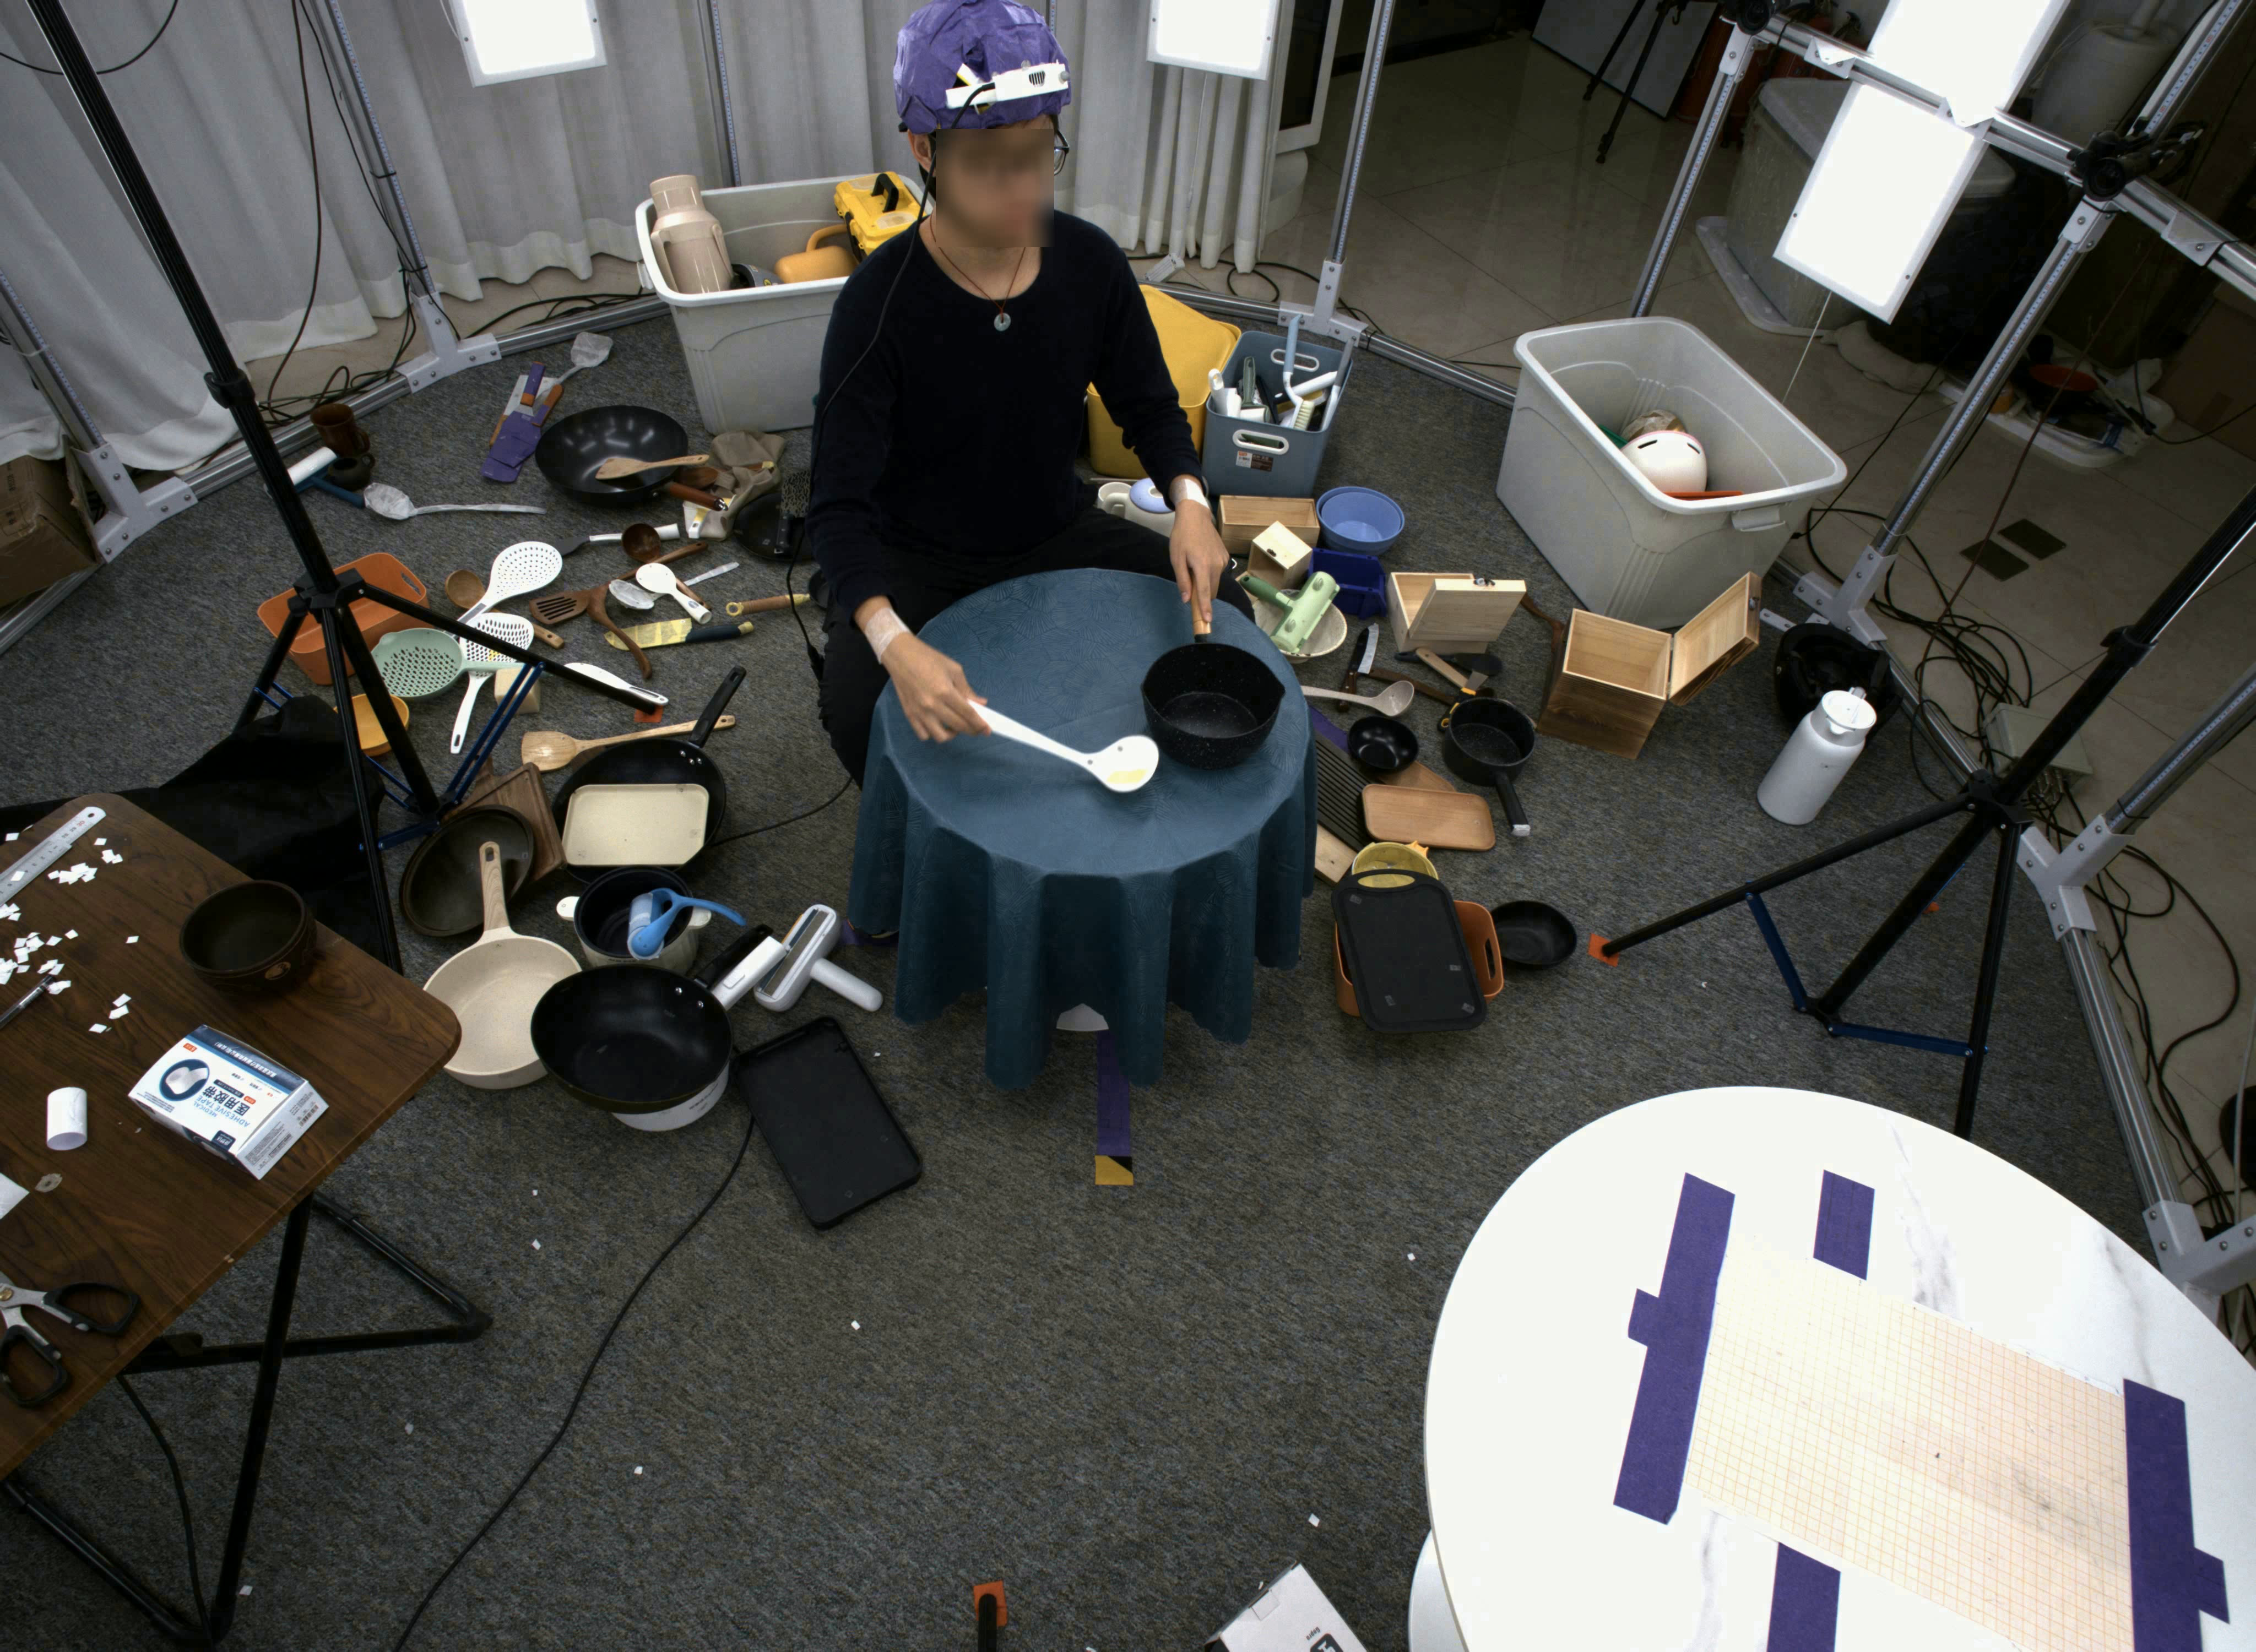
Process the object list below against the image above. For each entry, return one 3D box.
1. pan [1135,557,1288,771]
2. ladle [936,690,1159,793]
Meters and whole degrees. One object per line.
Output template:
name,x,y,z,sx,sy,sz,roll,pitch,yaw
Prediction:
pan,0.106,-0.228,1.804,0.207,0.105,0.351,-2,51,-5
ladle,-0.105,-0.119,1.675,0.292,0.069,0.092,21,60,-6
